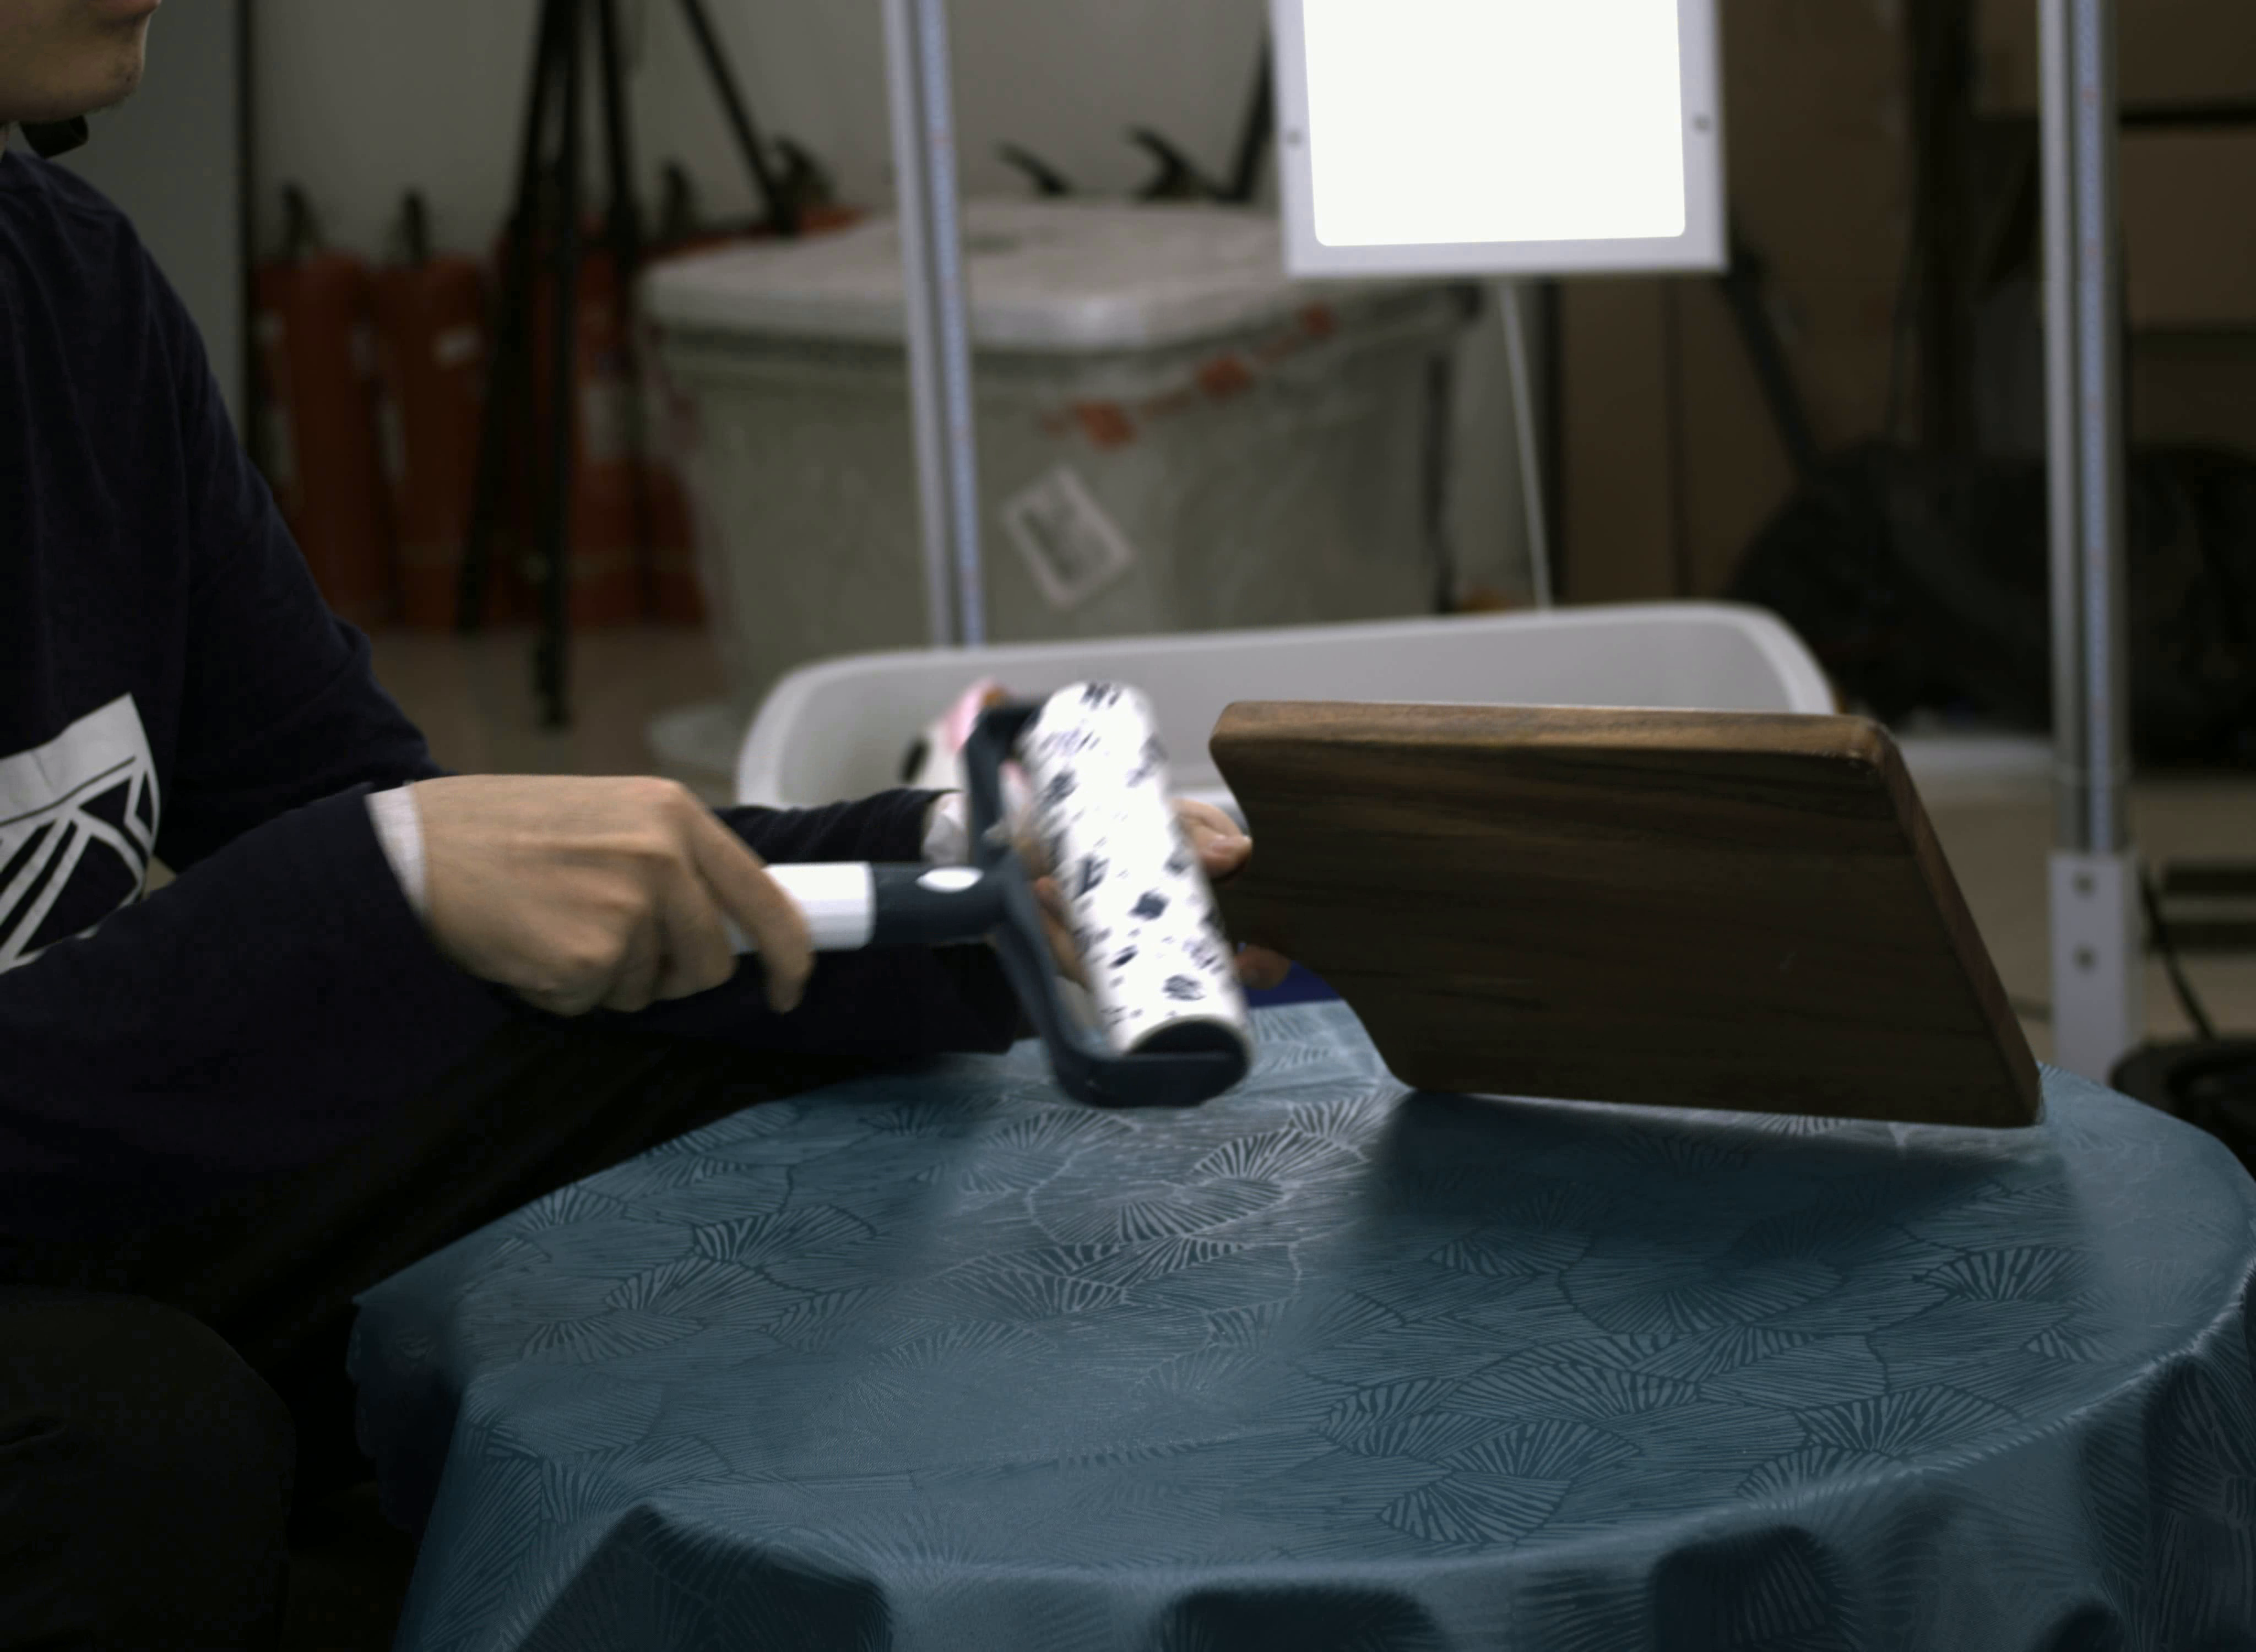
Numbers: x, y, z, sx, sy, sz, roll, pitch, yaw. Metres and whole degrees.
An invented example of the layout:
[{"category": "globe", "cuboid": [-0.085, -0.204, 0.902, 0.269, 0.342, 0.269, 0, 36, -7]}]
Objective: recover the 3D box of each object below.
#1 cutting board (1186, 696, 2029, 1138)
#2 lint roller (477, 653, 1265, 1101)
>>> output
[{"category": "cutting board", "cuboid": [0.126, 0.029, 1.895, 0.359, 0.199, 0.023, 3, 50, 34]}, {"category": "lint roller", "cuboid": [-0.090, 0.023, 1.806, 0.244, 0.051, 0.177, -5, 49, -12]}]
